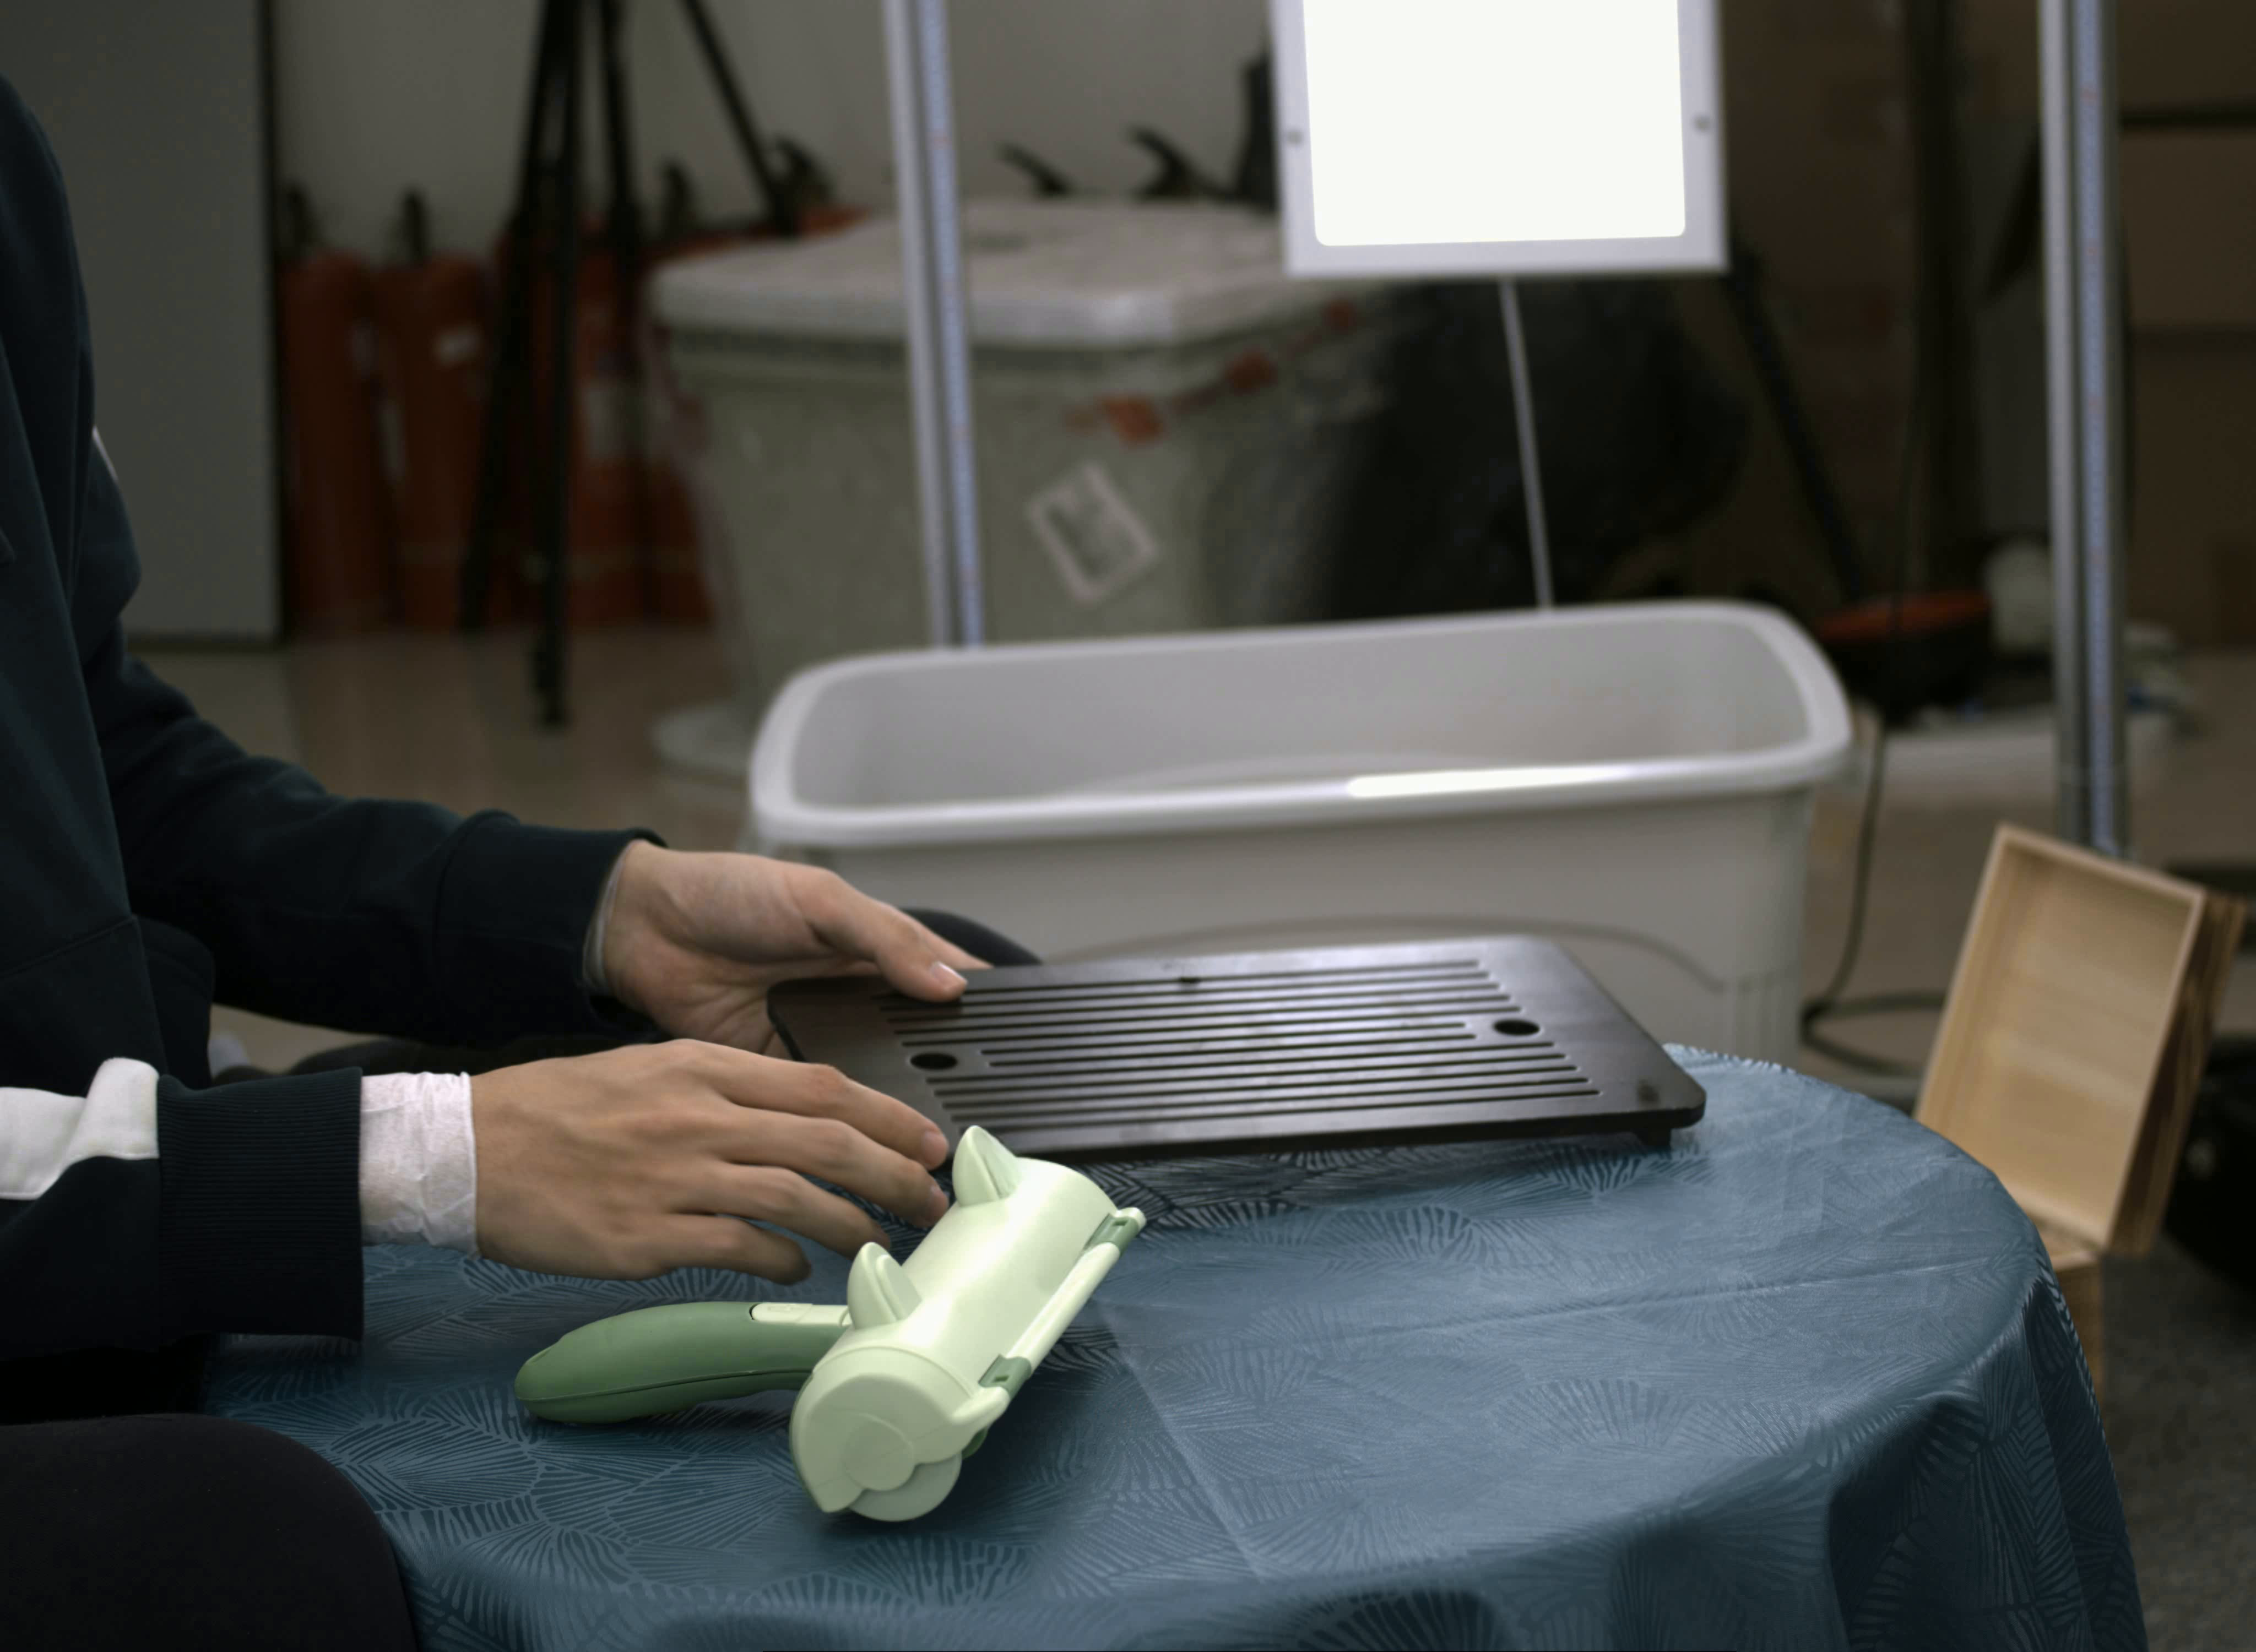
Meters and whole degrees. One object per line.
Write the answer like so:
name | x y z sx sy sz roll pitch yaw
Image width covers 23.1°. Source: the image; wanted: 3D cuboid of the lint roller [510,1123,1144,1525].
lint roller | -0.104 0.145 1.689 0.185 0.082 0.196 2 15 15

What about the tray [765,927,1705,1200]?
tray | 0.035 0.083 1.934 0.302 0.019 0.171 -4 22 -14
